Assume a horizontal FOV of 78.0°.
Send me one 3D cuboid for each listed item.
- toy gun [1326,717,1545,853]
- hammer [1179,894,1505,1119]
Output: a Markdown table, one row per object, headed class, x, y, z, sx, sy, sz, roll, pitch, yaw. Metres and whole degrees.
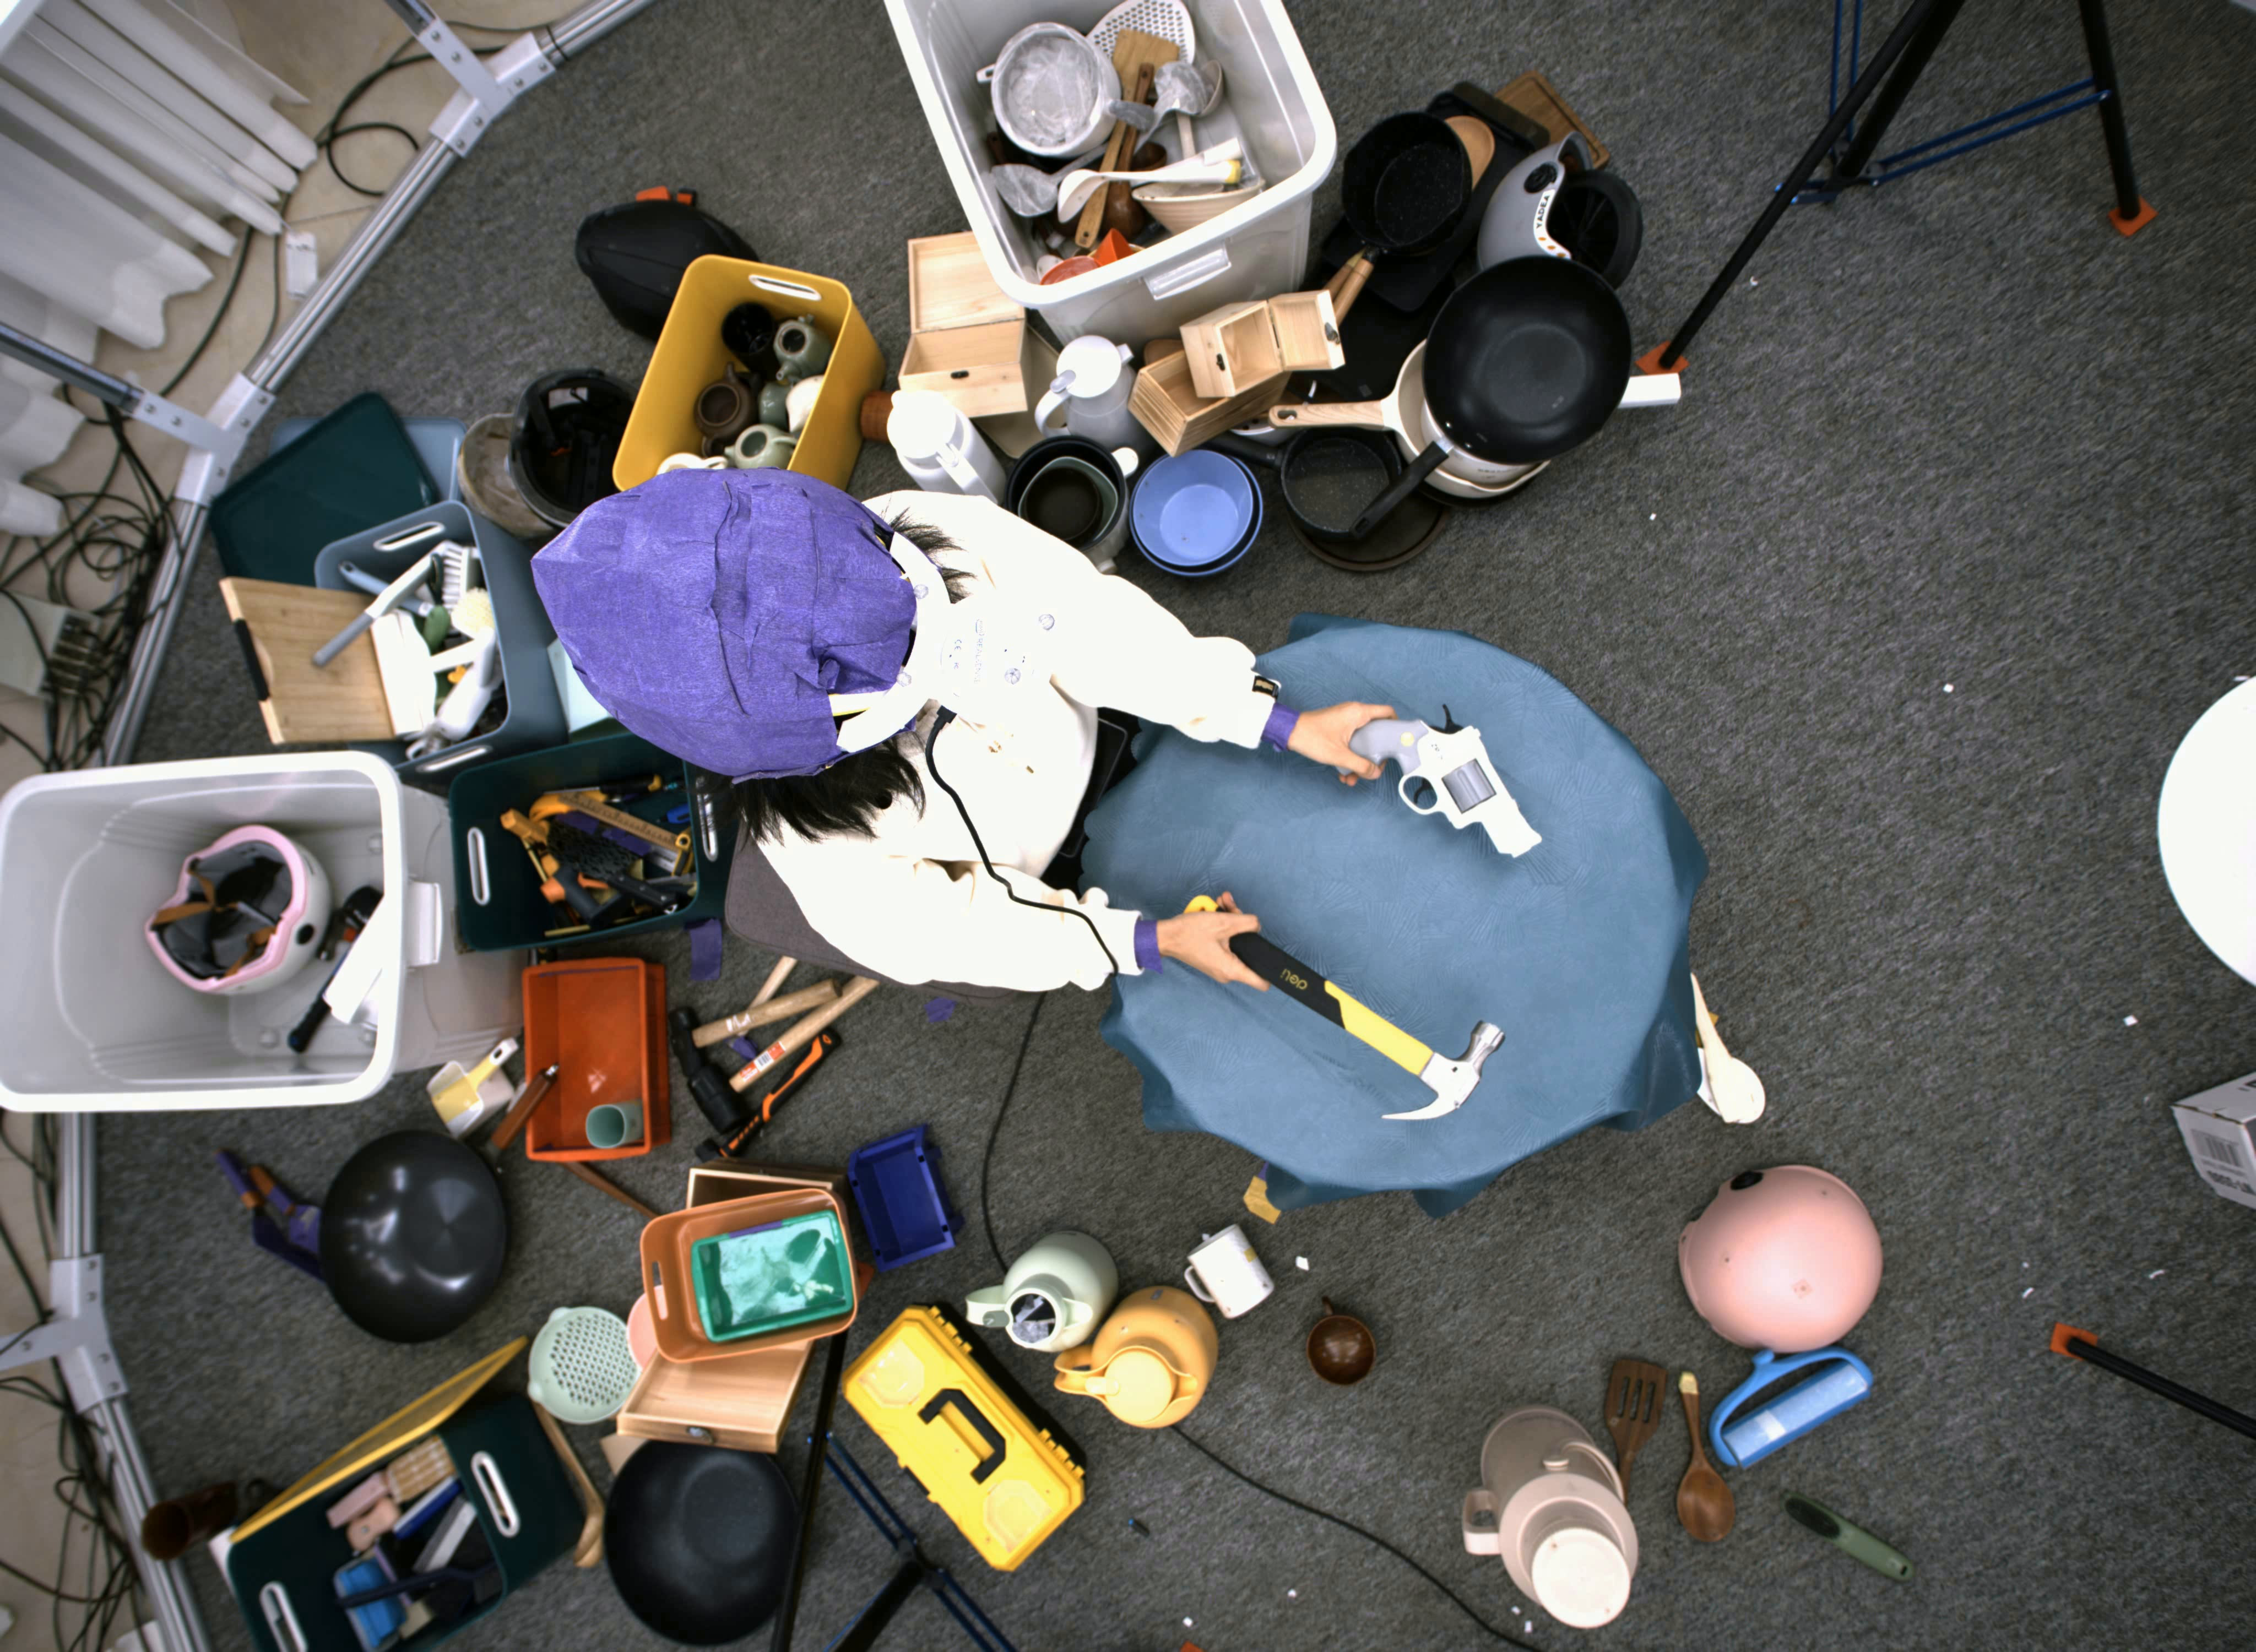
| class | x | y | z | sx | sy | sz | roll | pitch | yaw |
| --- | --- | --- | --- | --- | --- | --- | --- | --- | --- |
| toy gun | 0.307 | -0.042 | 1.394 | 0.143 | 0.038 | 0.208 | -33 | 81 | 15 |
| hammer | 0.192 | 0.167 | 1.367 | 0.337 | 0.032 | 0.132 | 33 | 95 | 21 |
